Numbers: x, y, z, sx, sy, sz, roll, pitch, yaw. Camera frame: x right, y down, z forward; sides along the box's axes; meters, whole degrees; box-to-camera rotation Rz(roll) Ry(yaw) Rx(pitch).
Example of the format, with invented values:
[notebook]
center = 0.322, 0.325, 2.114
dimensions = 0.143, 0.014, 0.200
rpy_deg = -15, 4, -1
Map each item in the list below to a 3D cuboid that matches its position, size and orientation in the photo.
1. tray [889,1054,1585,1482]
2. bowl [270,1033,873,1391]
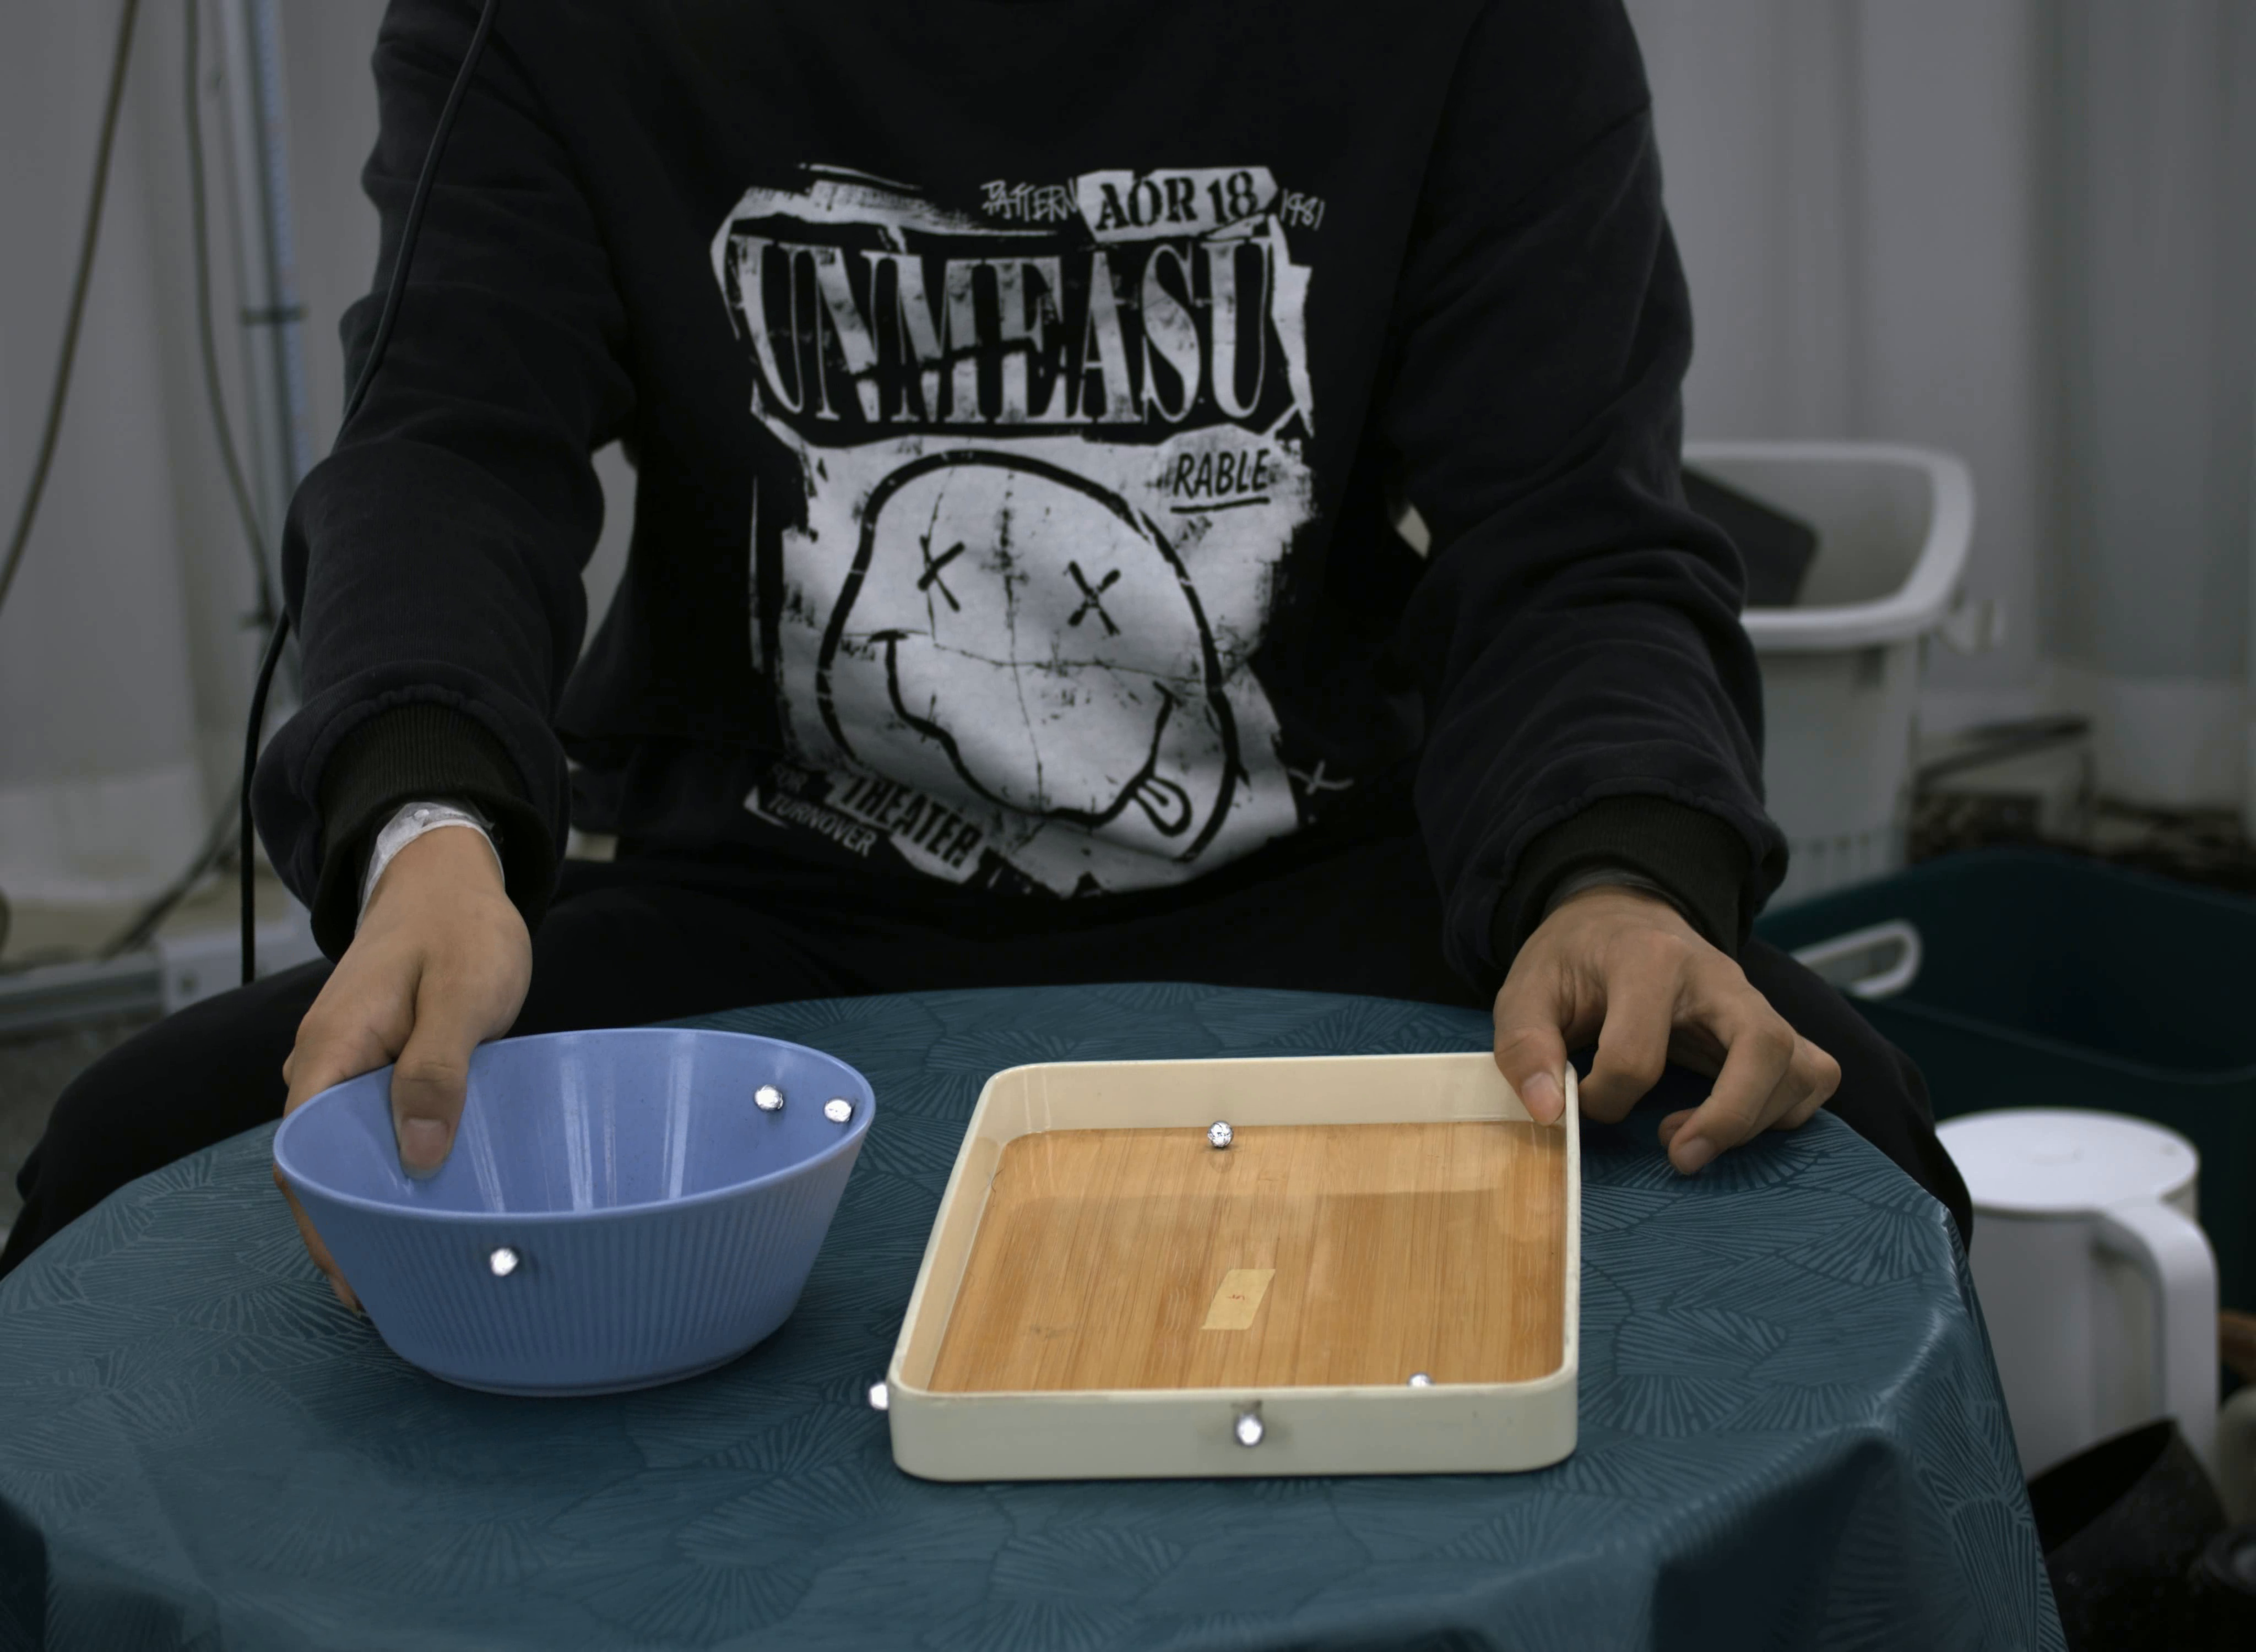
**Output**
[tray]
center = 0.039, 0.126, 1.614
dimensions = 0.191, 0.027, 0.302
rpy_deg = -1, 15, 5
[bowl]
center = -0.161, 0.116, 1.604
dimensions = 0.175, 0.070, 0.177
rpy_deg = -2, 14, 0
